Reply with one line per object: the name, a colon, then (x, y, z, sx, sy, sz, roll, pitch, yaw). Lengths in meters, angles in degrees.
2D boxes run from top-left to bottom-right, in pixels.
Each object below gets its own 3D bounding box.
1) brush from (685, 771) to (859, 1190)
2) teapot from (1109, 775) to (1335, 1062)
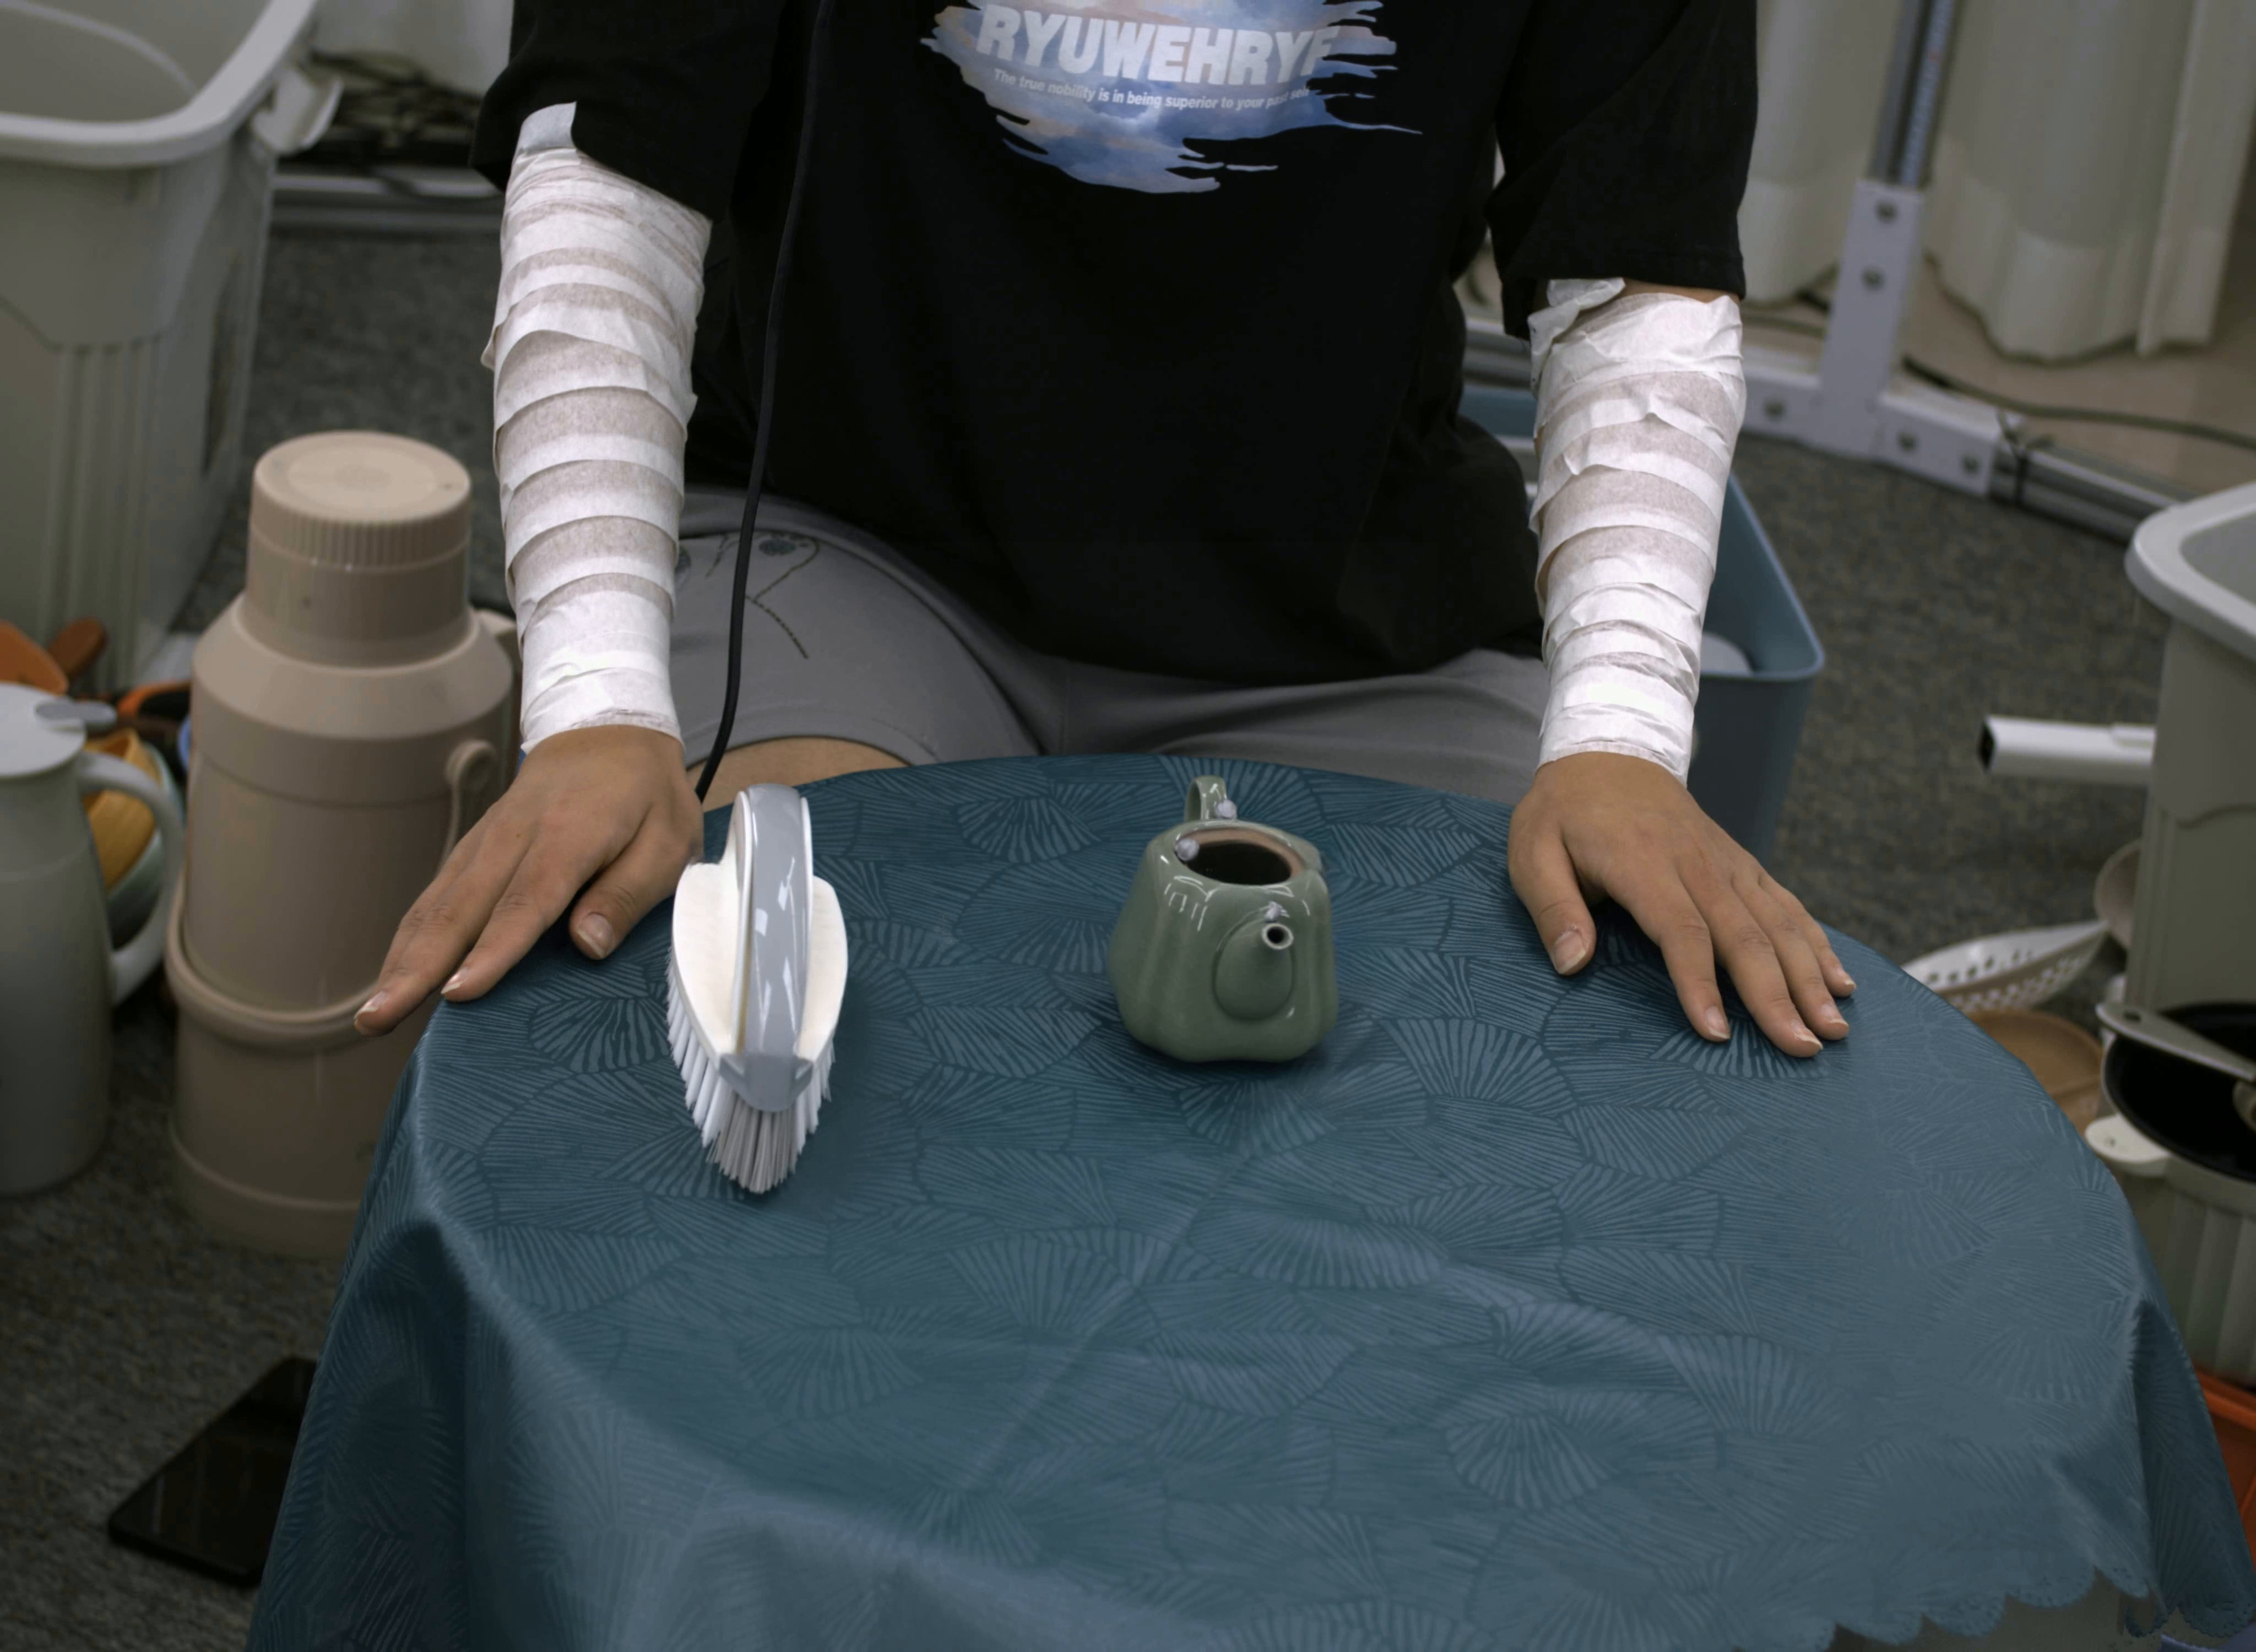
brush: (-0.122, 0.045, 1.831, 0.061, 0.094, 0.177, 2, 28, -5)
teapot: (0.036, 0.038, 1.901, 0.079, 0.075, 0.133, 4, 25, -10)
